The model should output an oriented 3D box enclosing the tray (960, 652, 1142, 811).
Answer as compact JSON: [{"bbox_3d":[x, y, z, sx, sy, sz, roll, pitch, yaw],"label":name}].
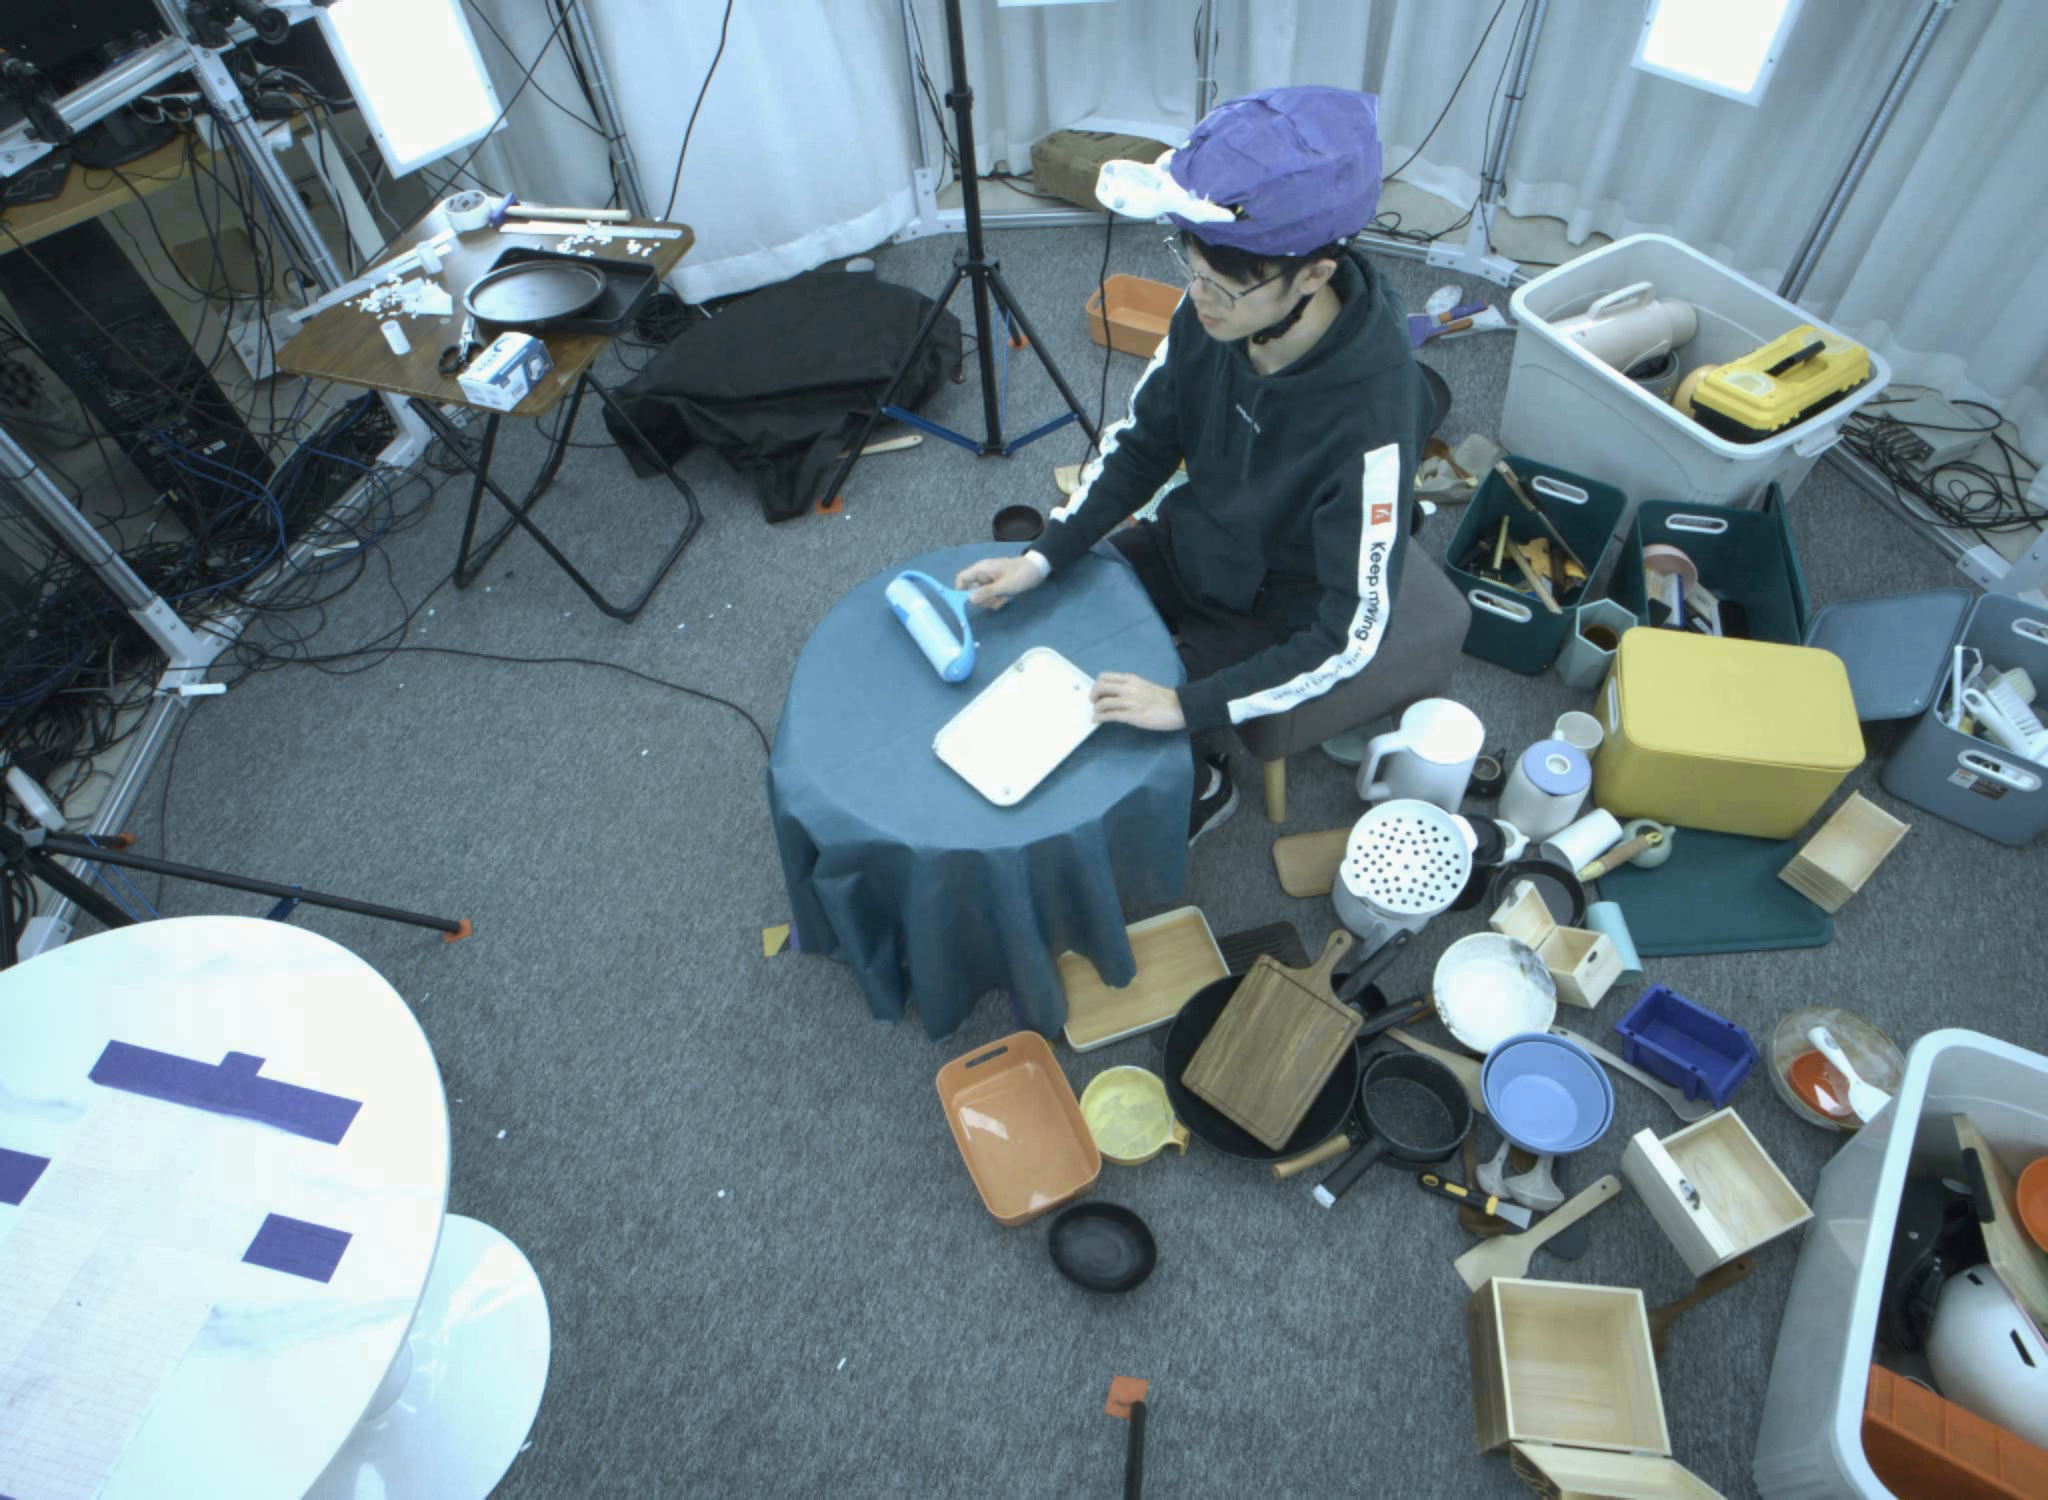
[{"bbox_3d":[0.040,-0.028,1.774,0.241,0.018,0.168,-41,65,-16],"label":"tray"}]

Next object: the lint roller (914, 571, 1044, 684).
[{"bbox_3d":[-0.054,-0.215,1.895,0.181,0.069,0.224,-31,57,-11],"label":"lint roller"}]
